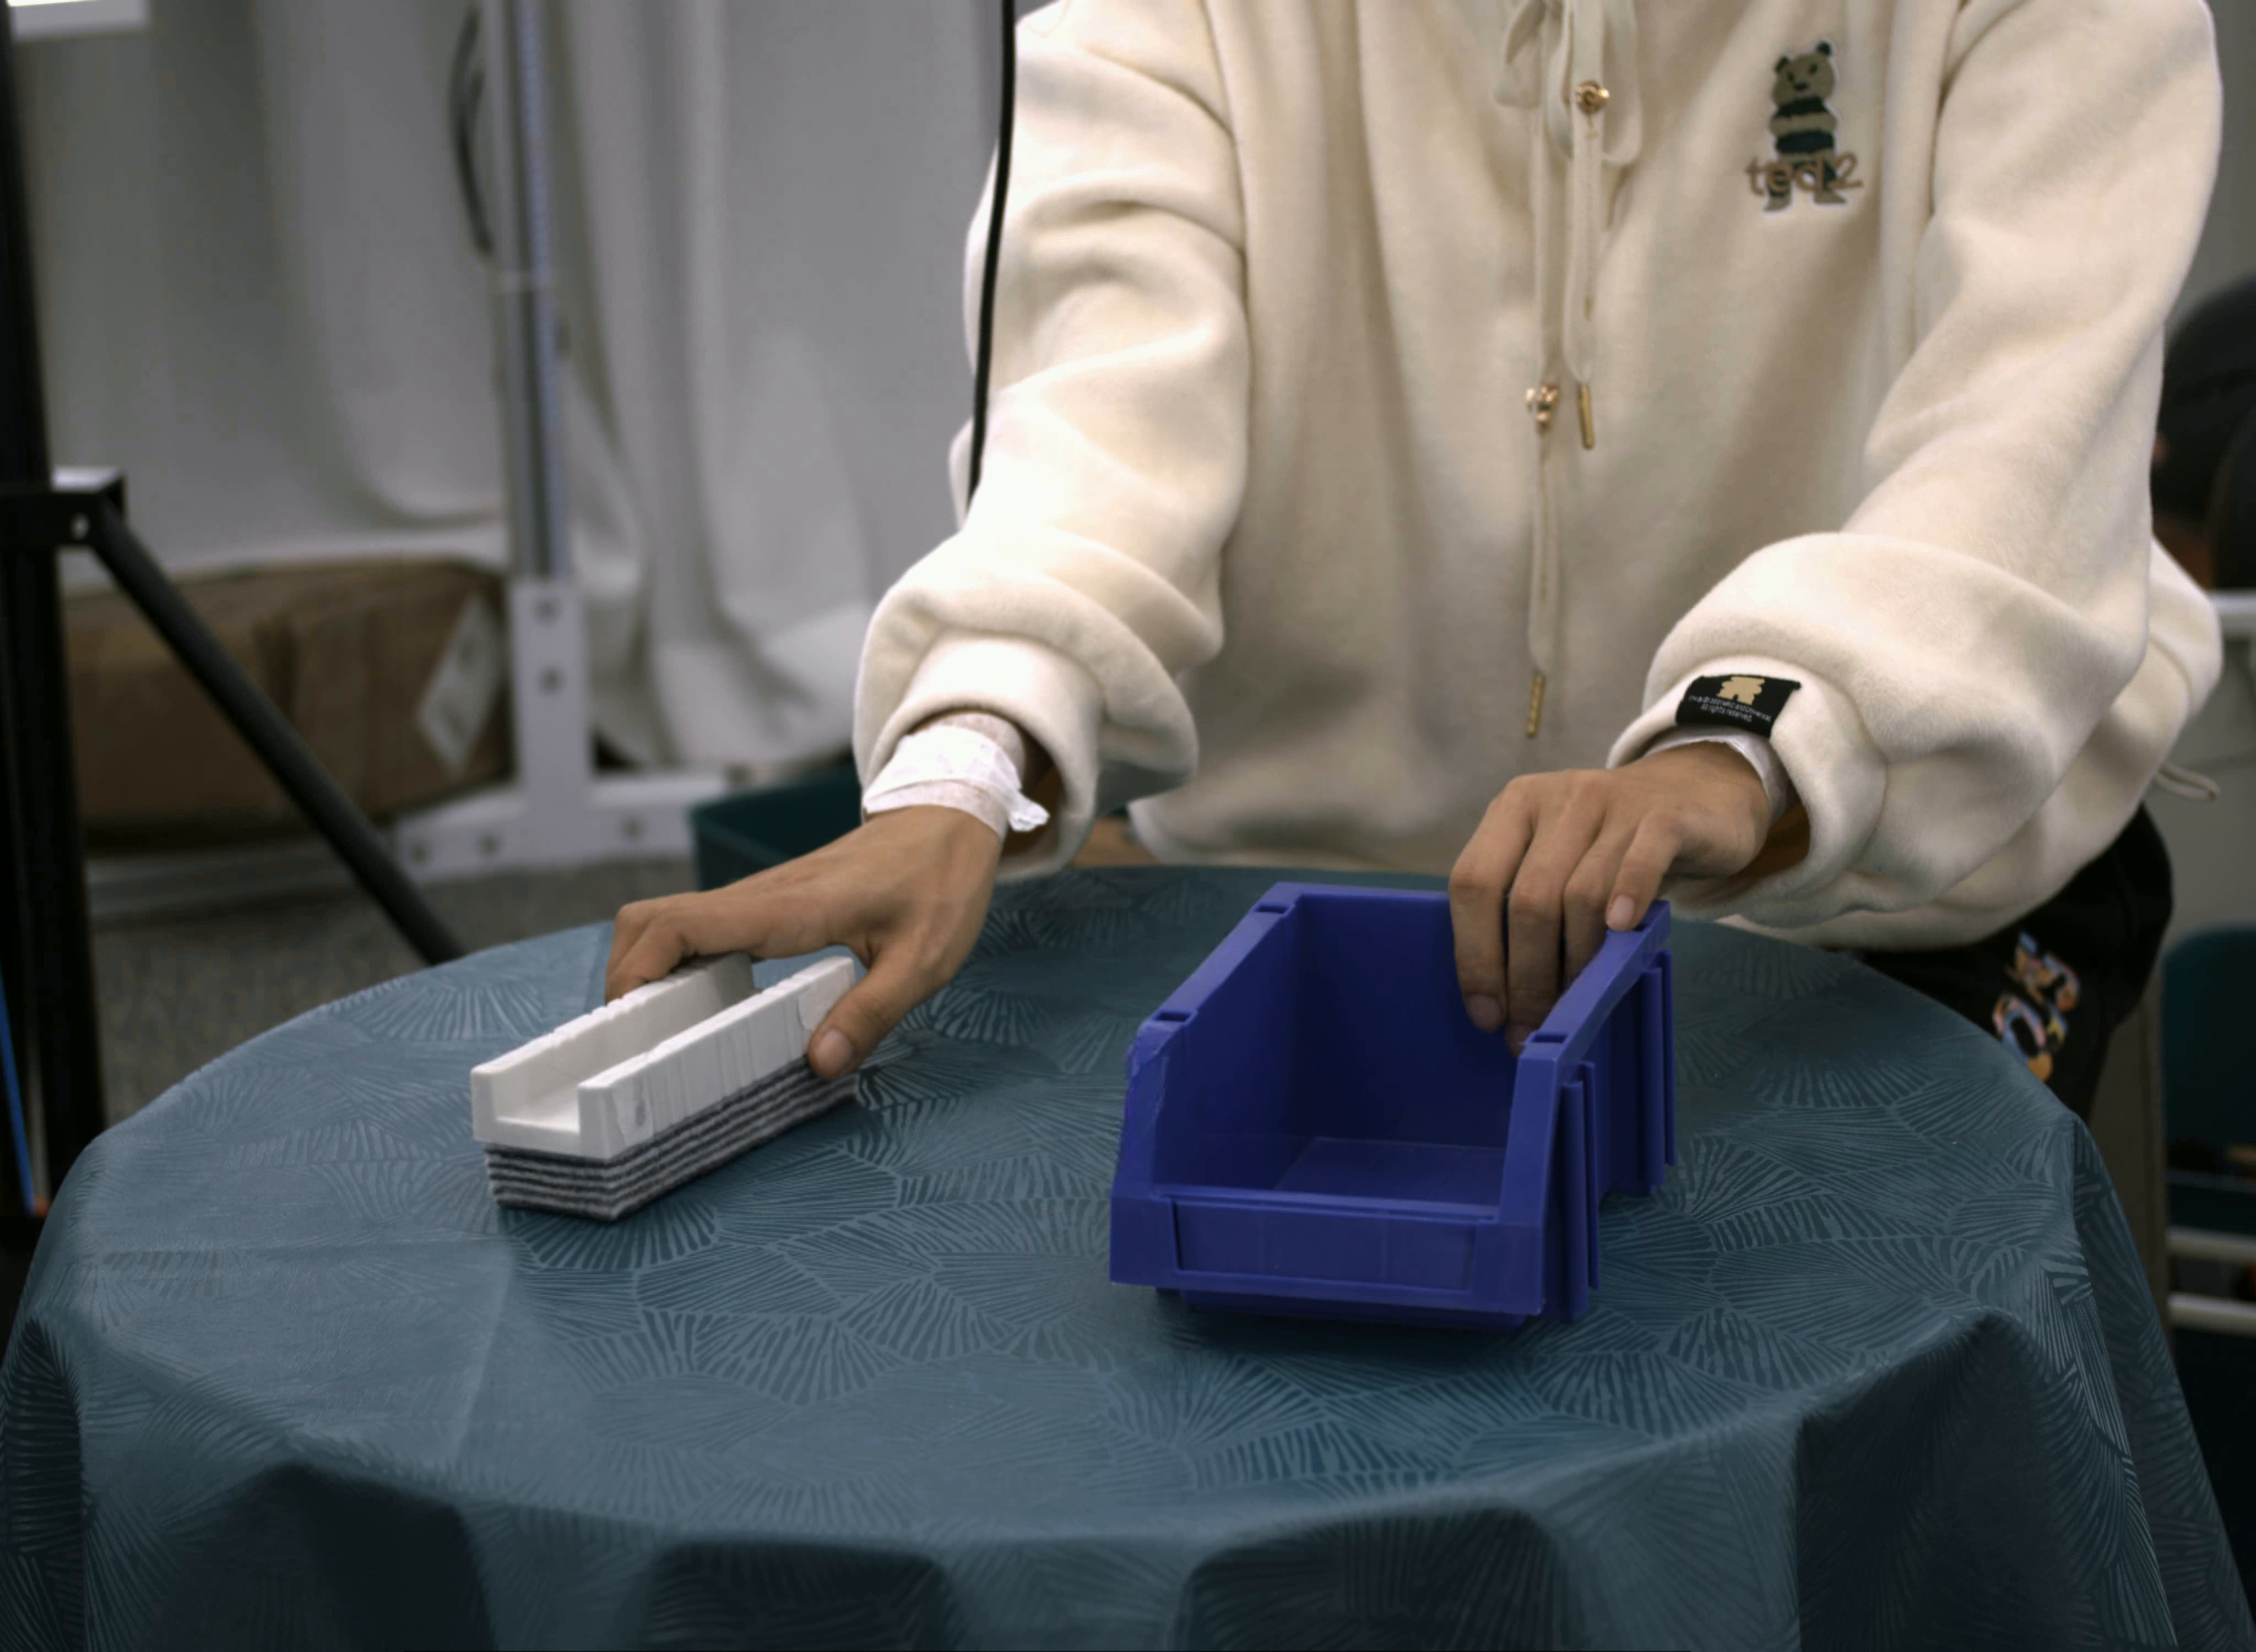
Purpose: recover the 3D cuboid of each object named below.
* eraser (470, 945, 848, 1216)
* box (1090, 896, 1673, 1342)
[{"bbox_3d":[-0.139,0.075,1.609,0.050,0.046,0.132,2,17,30],"label":"eraser"},{"bbox_3d":[0.076,0.084,1.480,0.126,0.082,0.177,3,15,19],"label":"box"}]
